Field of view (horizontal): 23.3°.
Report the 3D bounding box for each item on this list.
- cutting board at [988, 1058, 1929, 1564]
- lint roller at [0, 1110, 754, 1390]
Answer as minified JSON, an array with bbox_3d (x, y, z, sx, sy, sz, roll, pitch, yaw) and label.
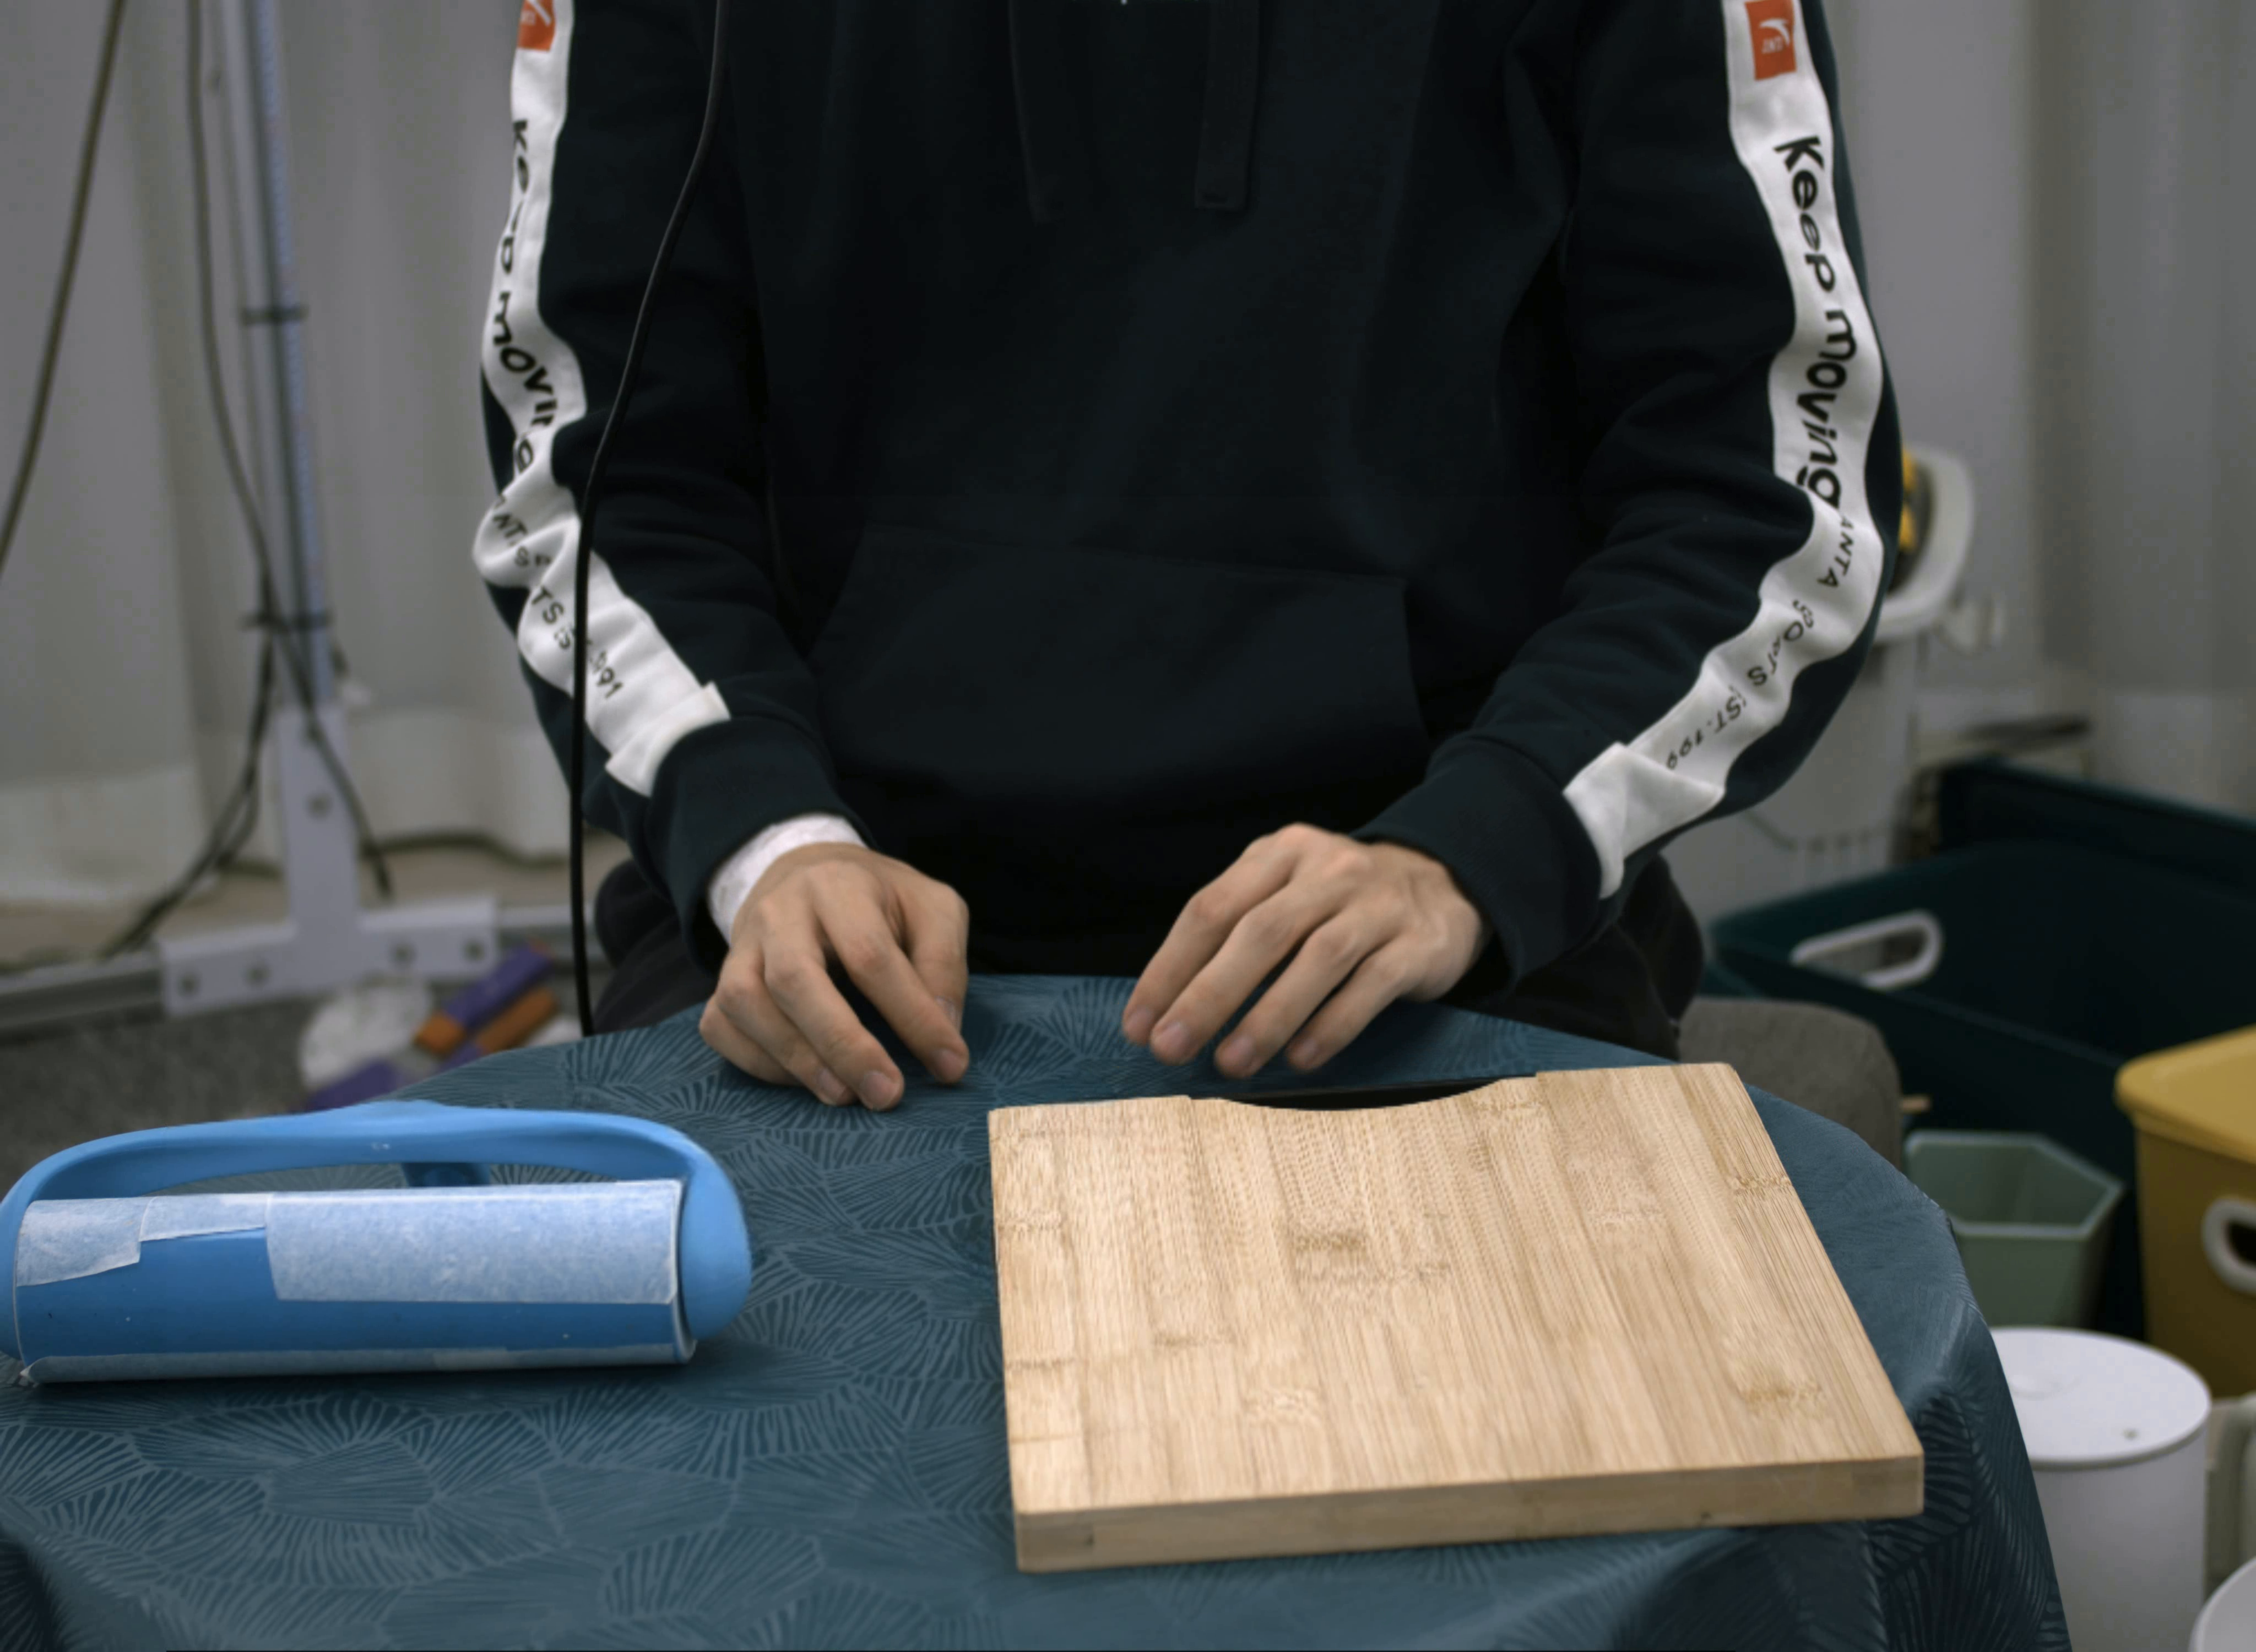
[{"bbox_3d":[0.082,0.135,1.589,0.250,0.023,0.351,-4,15,-2],"label":"cutting board"},{"bbox_3d":[-0.222,0.116,1.644,0.228,0.067,0.181,-4,15,1],"label":"lint roller"}]
